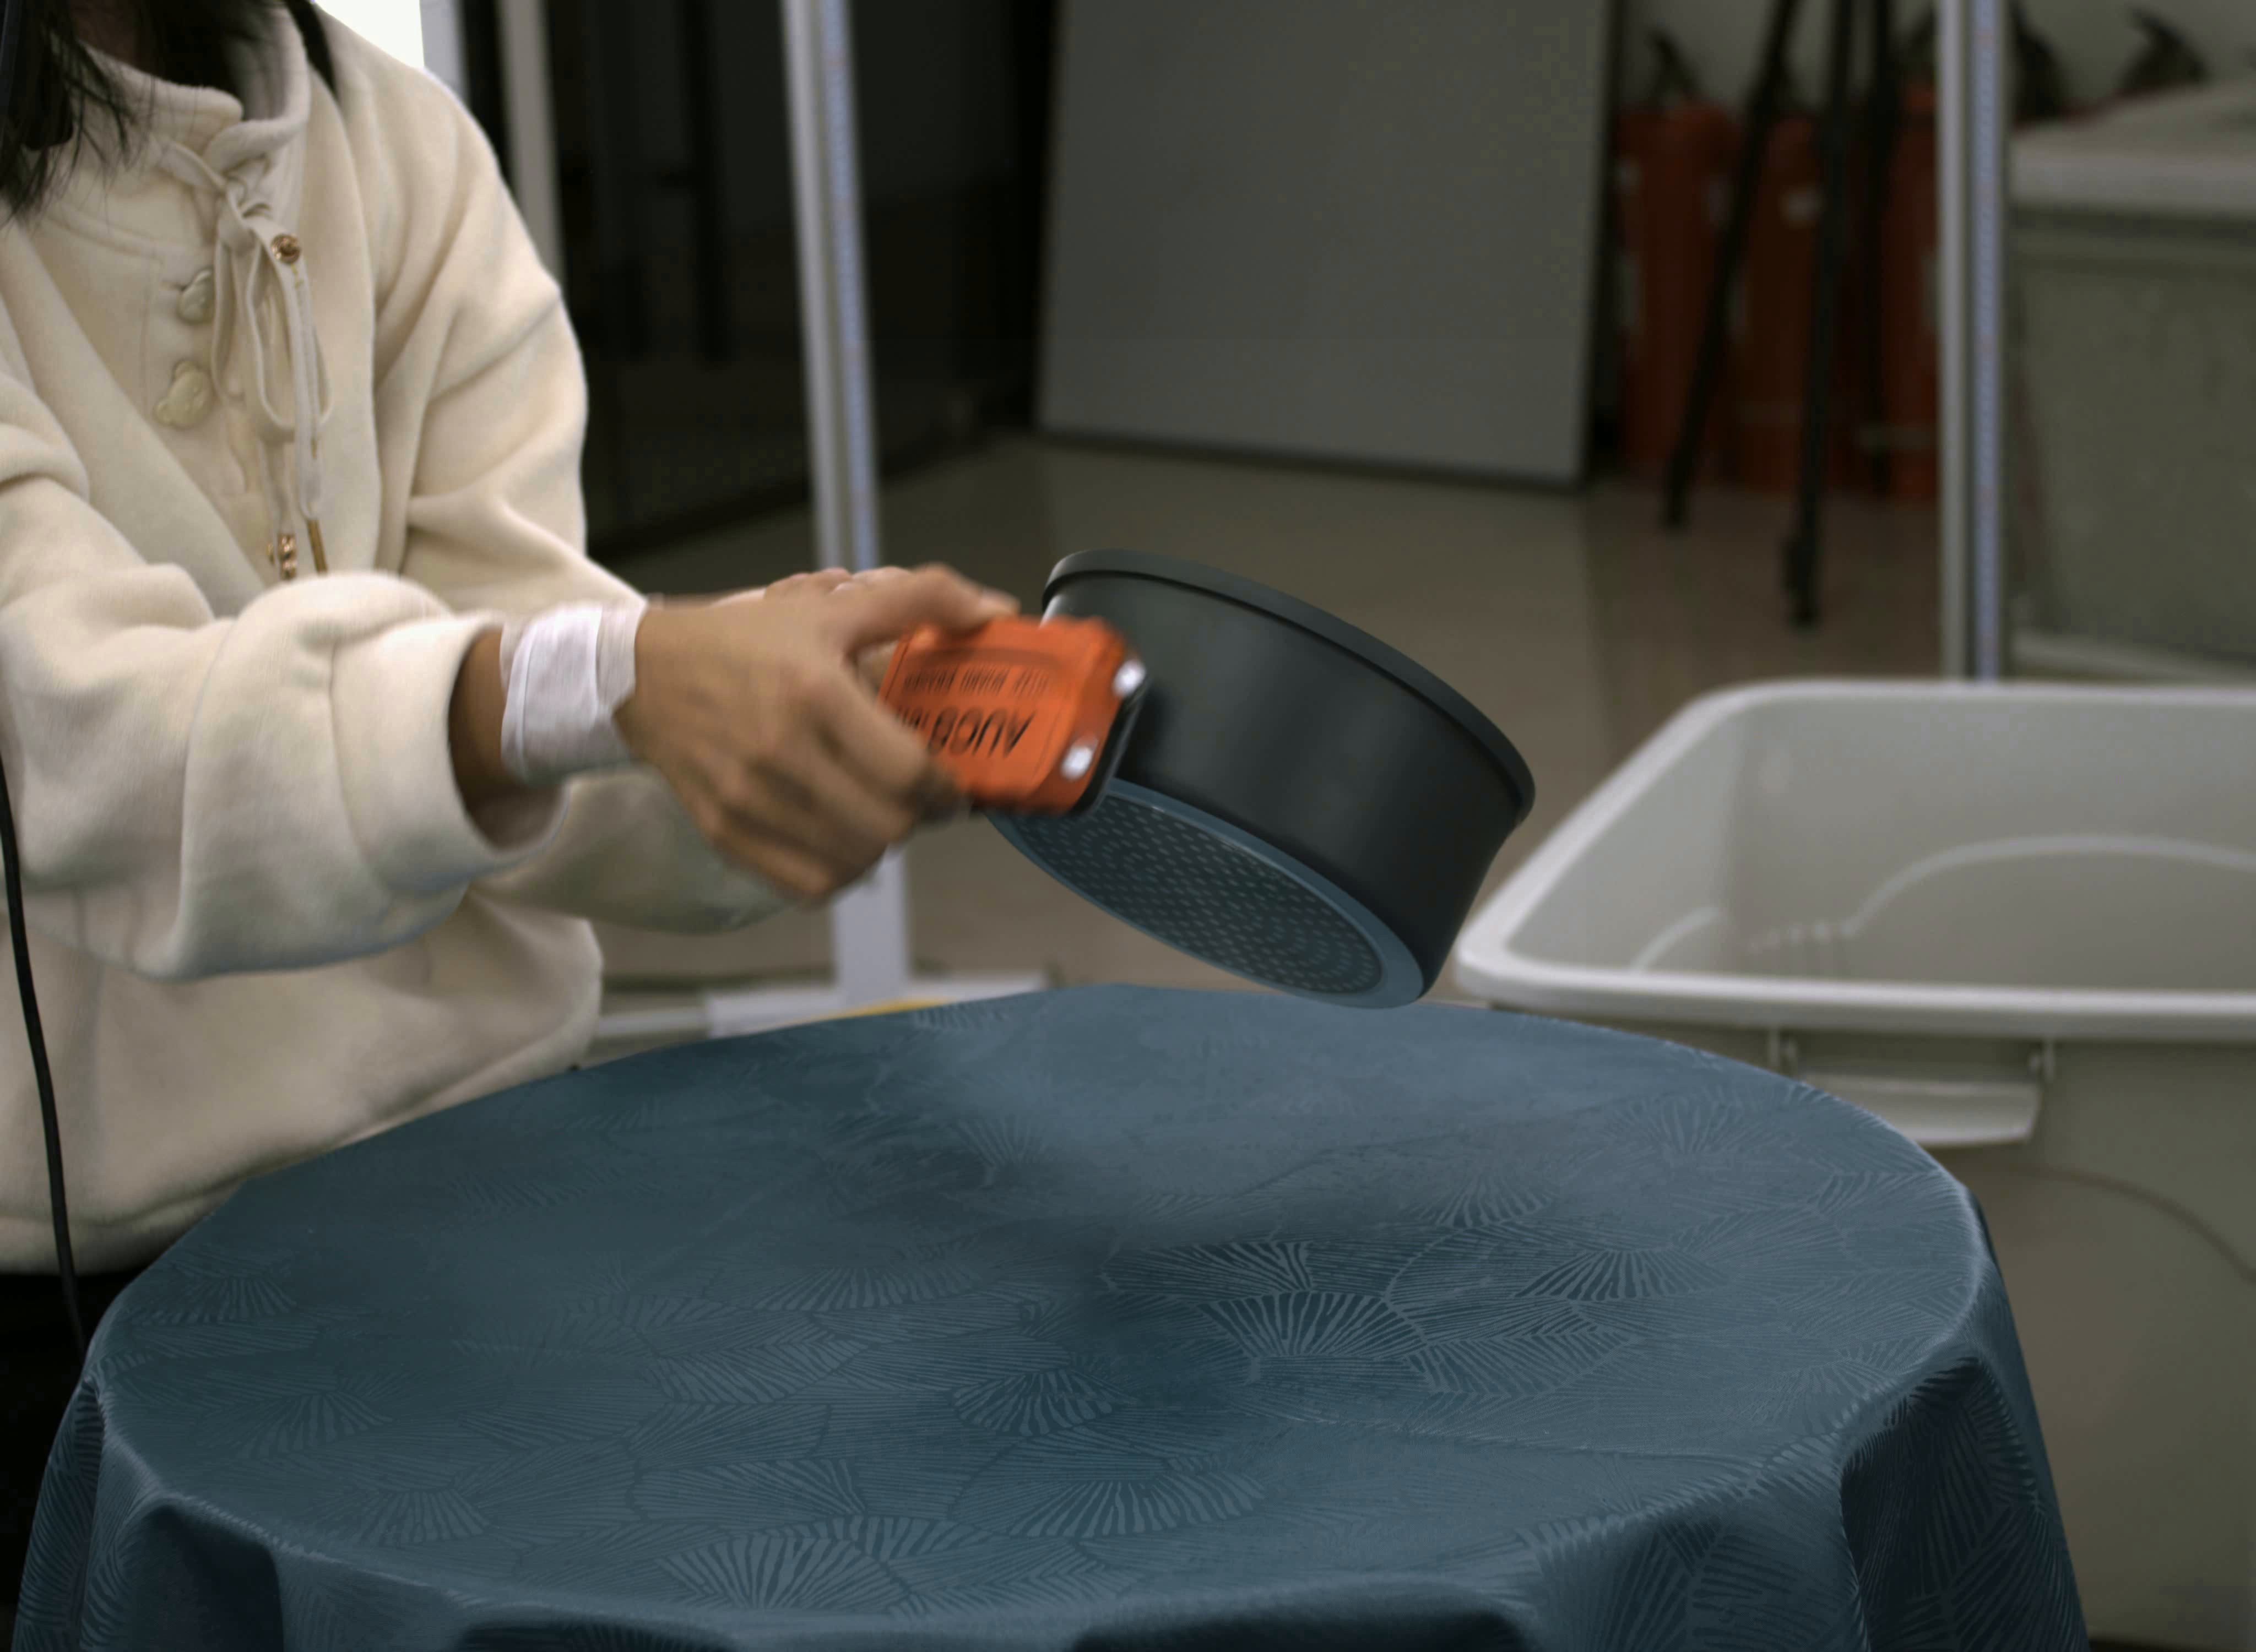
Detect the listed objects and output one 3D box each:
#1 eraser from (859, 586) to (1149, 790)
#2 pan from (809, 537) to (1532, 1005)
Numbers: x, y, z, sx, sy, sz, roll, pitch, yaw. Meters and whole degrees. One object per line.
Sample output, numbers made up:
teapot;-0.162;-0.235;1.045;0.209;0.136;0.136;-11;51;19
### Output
eraser;-0.039;-0.042;1.650;0.022;0.059;0.109;27;-14;-33
pan;-0.014;-0.022;1.764;0.169;0.087;0.332;39;-19;-35
